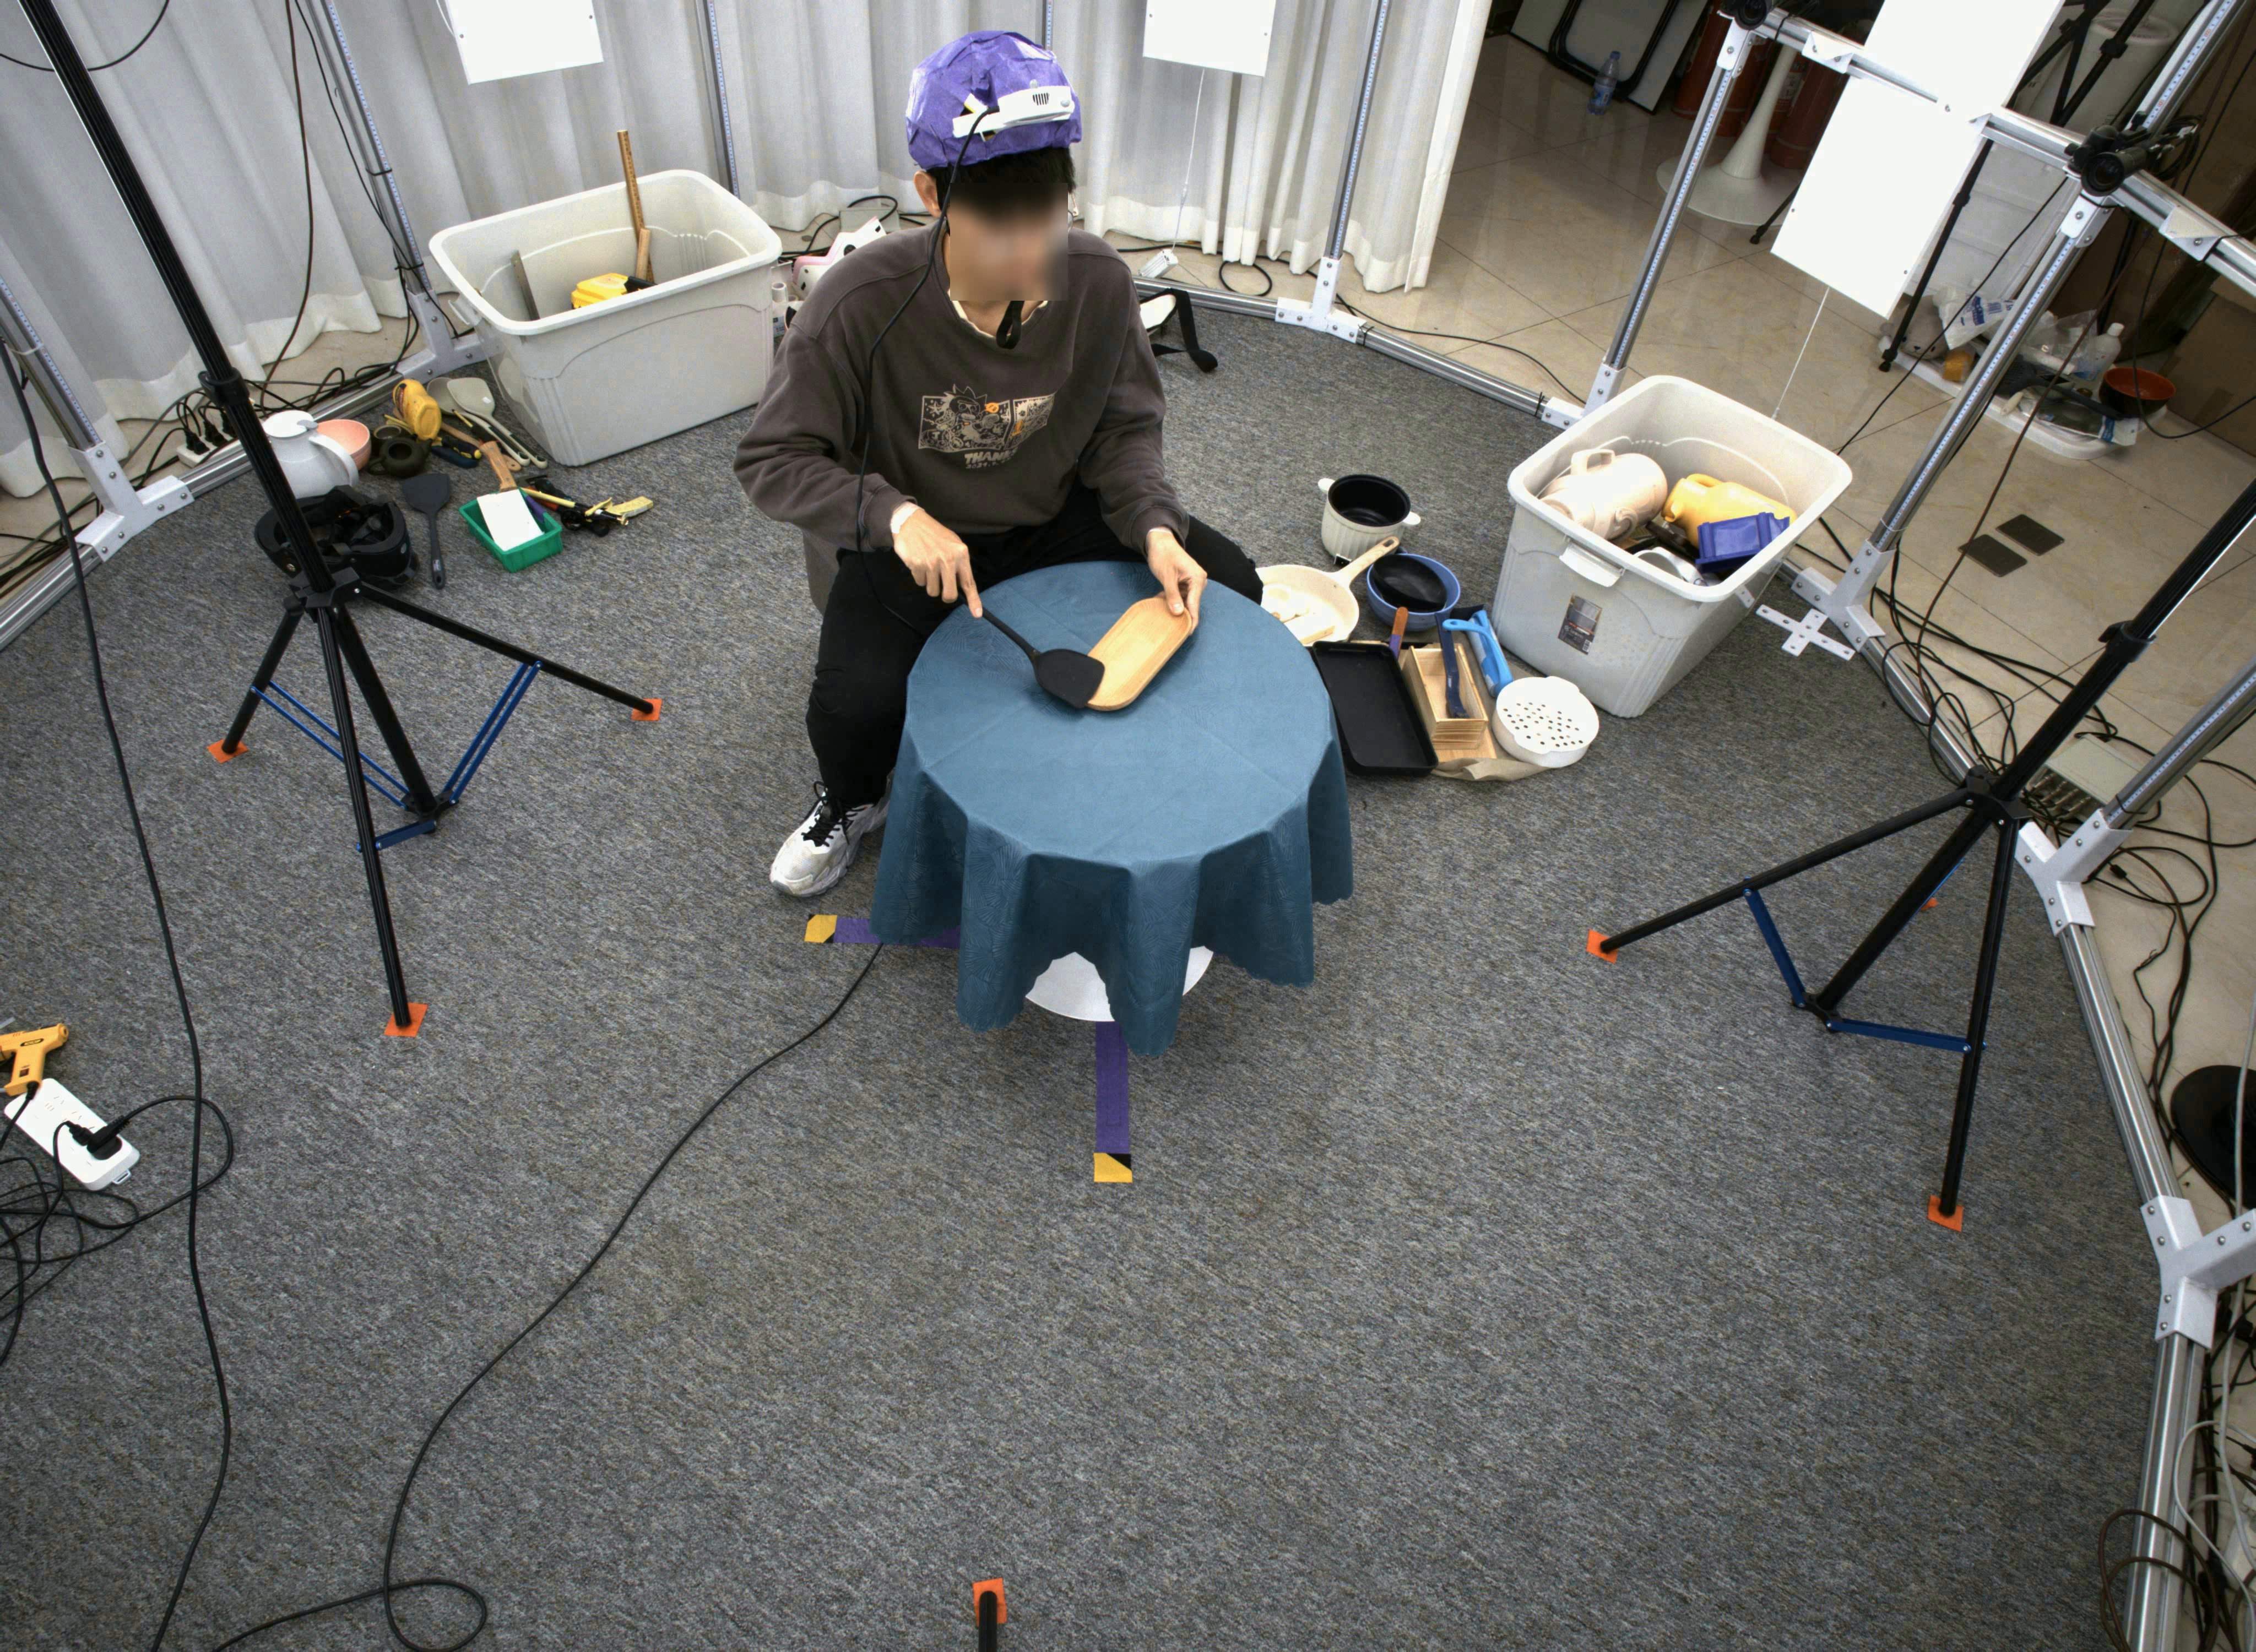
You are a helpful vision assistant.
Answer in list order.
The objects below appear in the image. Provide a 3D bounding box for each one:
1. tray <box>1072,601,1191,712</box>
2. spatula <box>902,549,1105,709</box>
[{"bbox_3d":[0.006,-0.247,1.855,0.103,0.020,0.234,25,59,23],"label":"tray"},{"bbox_3d":[-0.177,-0.284,1.791,0.323,0.040,0.102,39,49,-13],"label":"spatula"}]
